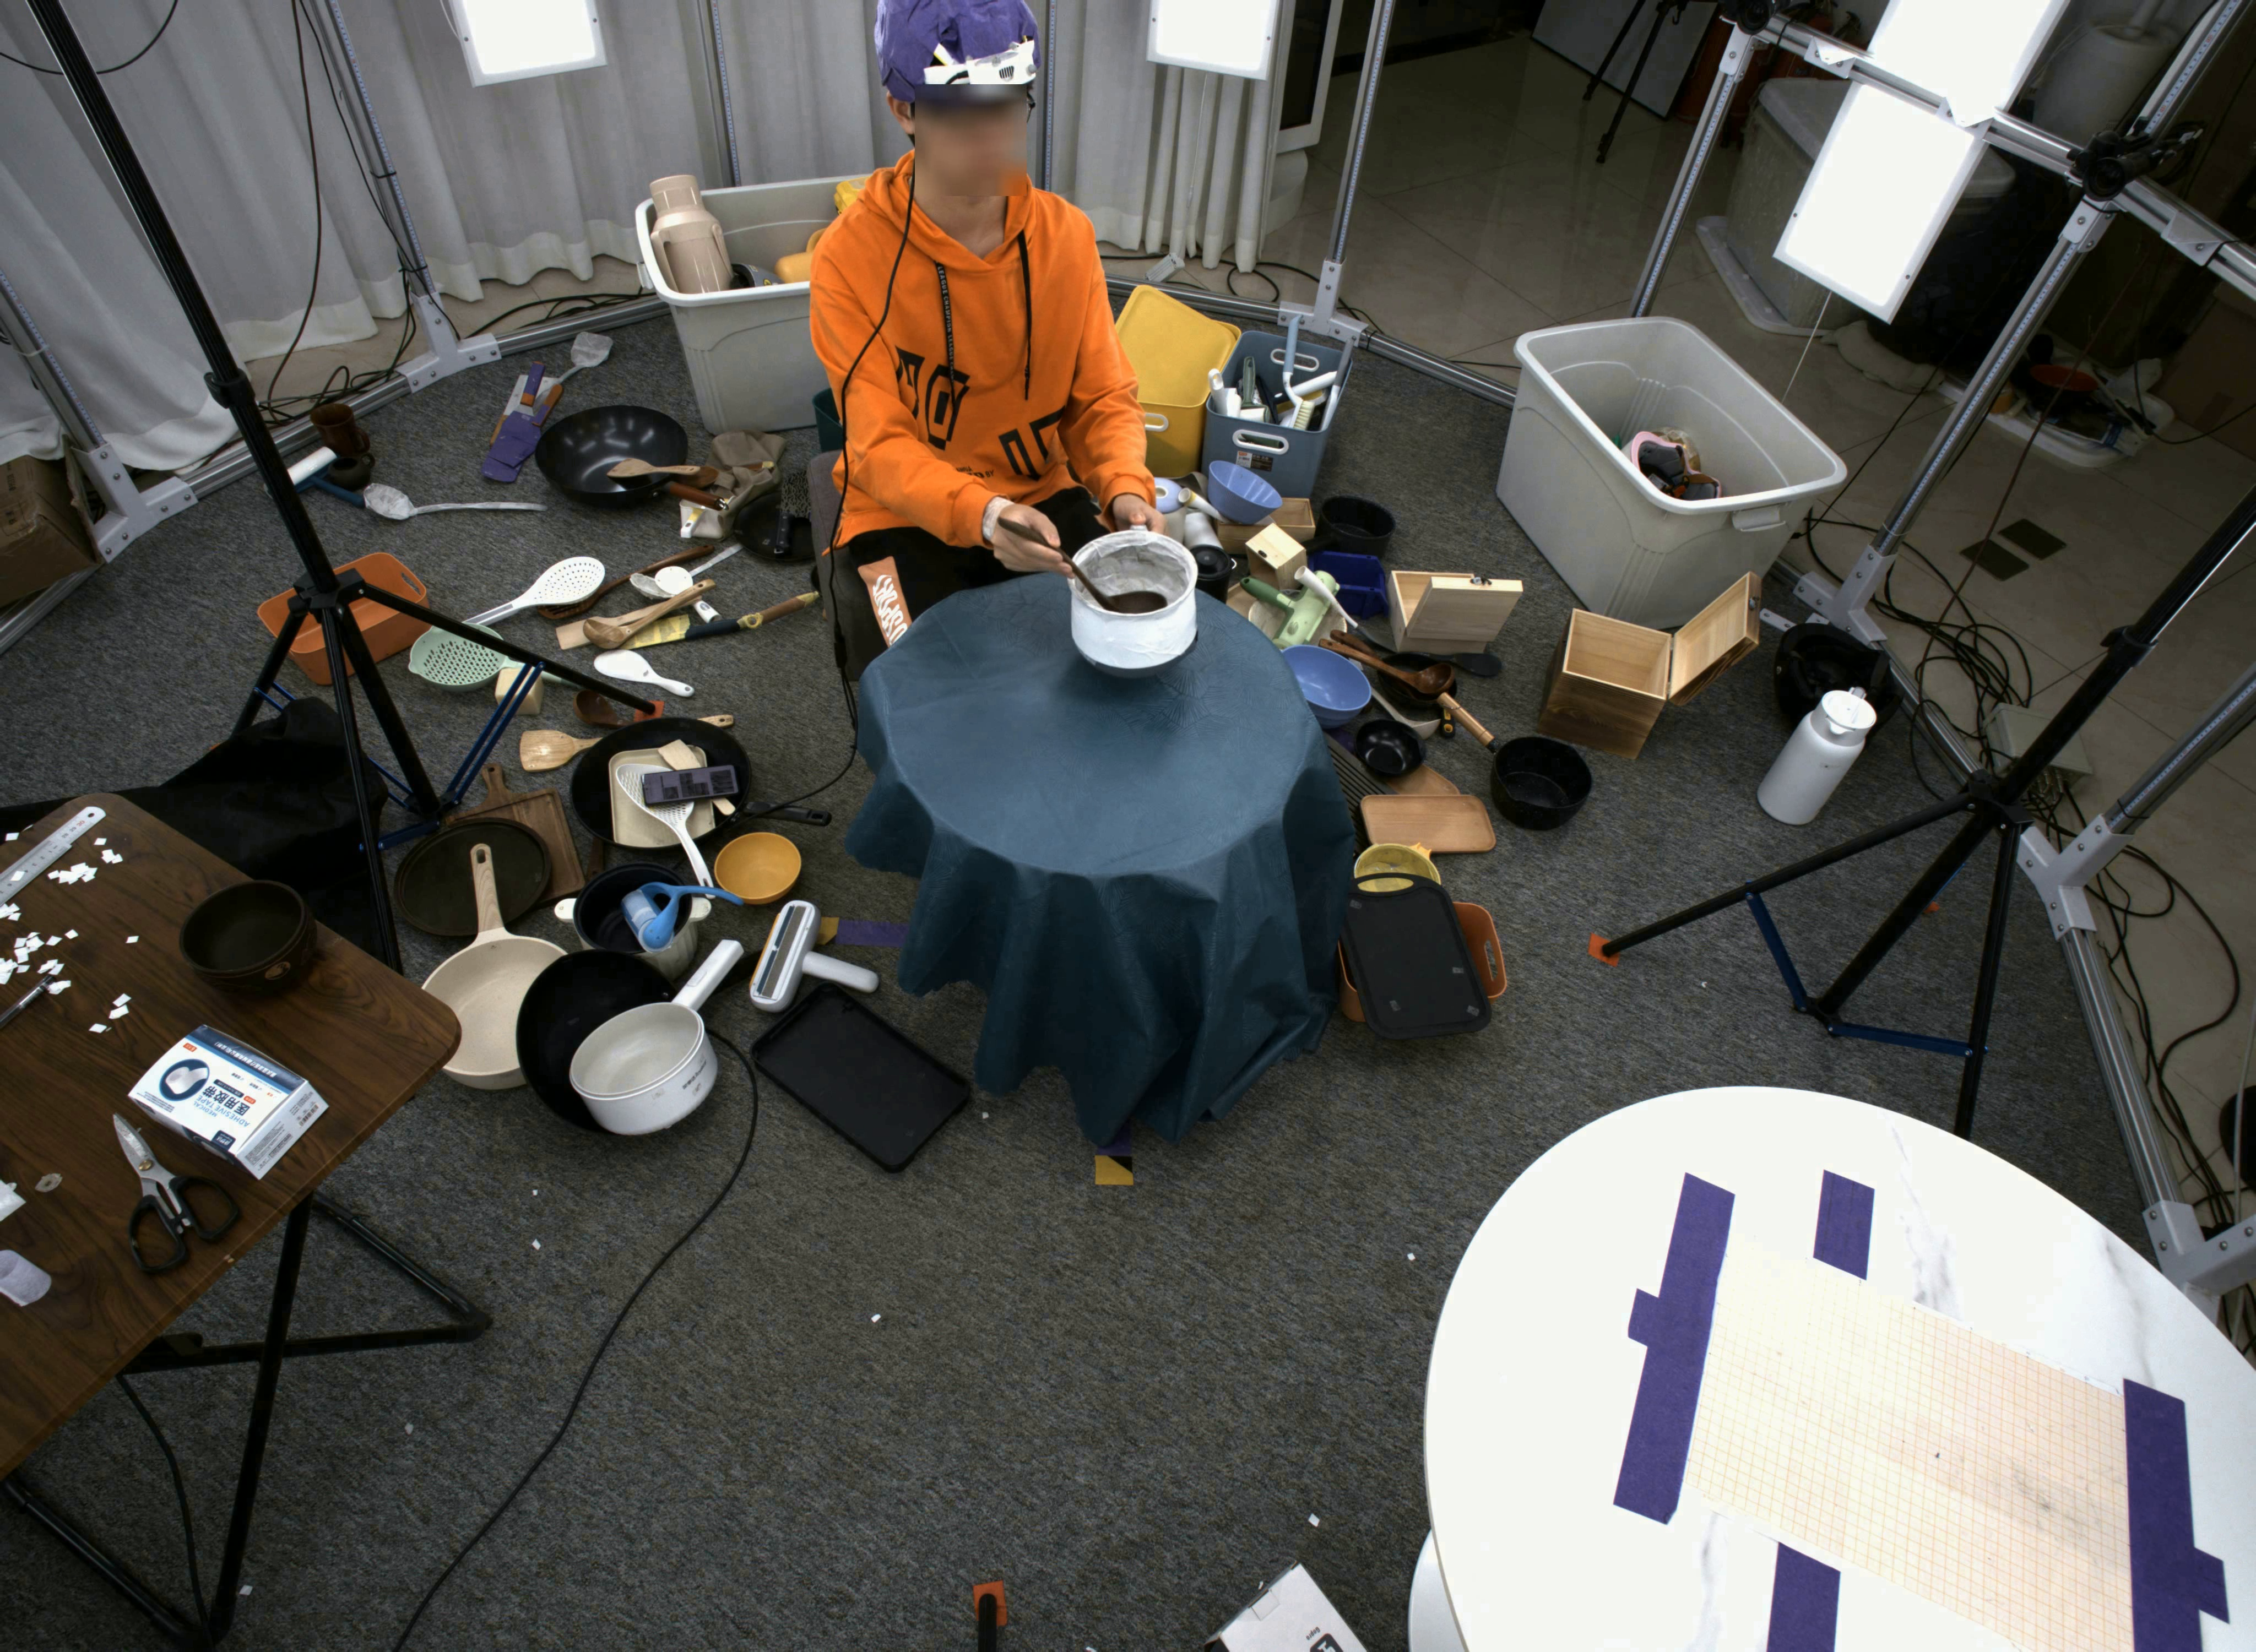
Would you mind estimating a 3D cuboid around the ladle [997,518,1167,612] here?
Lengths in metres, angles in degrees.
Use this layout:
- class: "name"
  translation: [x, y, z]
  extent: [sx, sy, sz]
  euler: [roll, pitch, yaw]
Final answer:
- class: "ladle"
  translation: [-0.054, -0.347, 1.705]
  extent: [0.071, 0.269, 0.078]
  euler: [-48, 38, 9]

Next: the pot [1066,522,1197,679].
- class: "pot"
  translation: [0.009, -0.326, 1.804]
  extent: [0.179, 0.133, 0.239]
  euler: [1, 50, 3]
